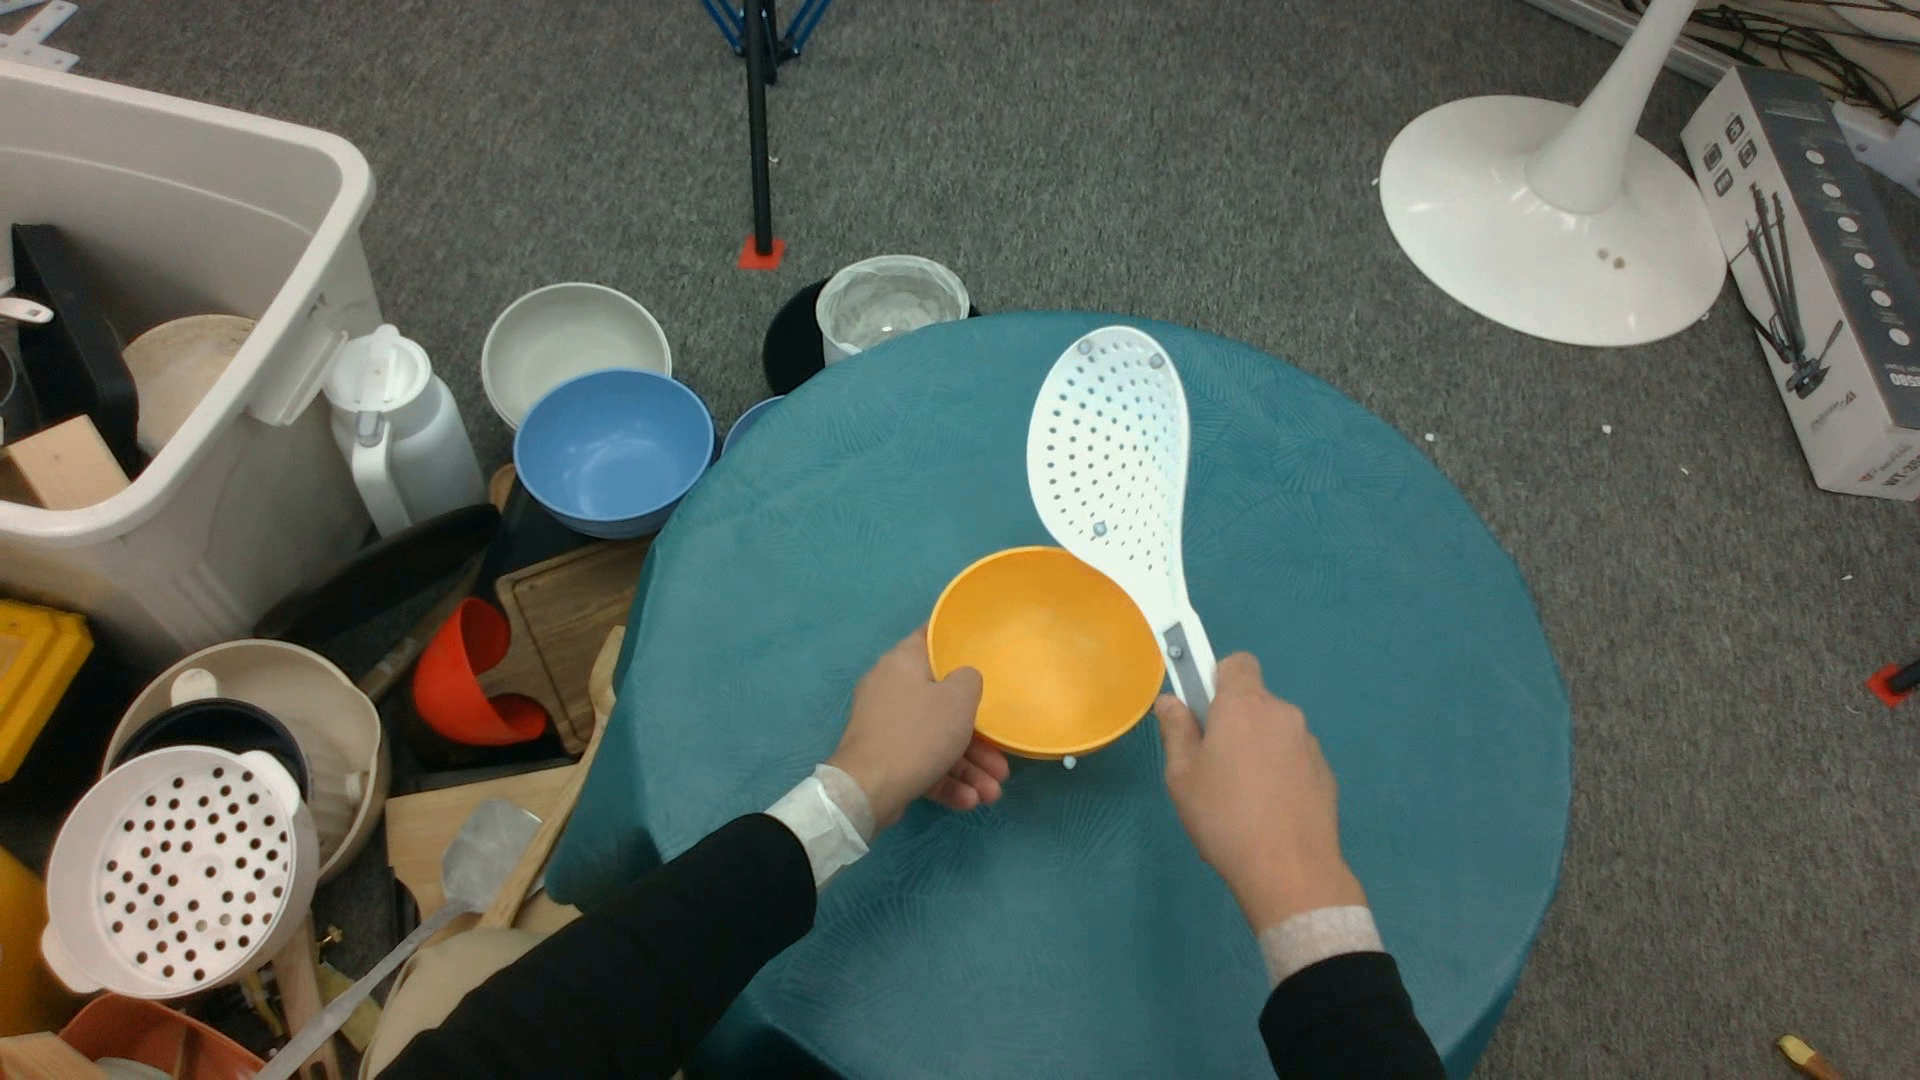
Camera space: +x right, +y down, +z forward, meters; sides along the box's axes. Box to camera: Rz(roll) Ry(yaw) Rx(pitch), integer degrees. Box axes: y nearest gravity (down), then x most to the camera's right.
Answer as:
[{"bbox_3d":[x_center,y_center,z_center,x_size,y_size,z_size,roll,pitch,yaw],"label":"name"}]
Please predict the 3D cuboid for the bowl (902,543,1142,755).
[{"bbox_3d":[0.036,0.076,0.844,0.145,0.060,0.146,1,54,-2],"label":"bowl"}]

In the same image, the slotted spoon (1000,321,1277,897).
[{"bbox_3d":[0.102,0.029,0.776,0.046,0.135,0.351,8,53,-34],"label":"slotted spoon"}]
